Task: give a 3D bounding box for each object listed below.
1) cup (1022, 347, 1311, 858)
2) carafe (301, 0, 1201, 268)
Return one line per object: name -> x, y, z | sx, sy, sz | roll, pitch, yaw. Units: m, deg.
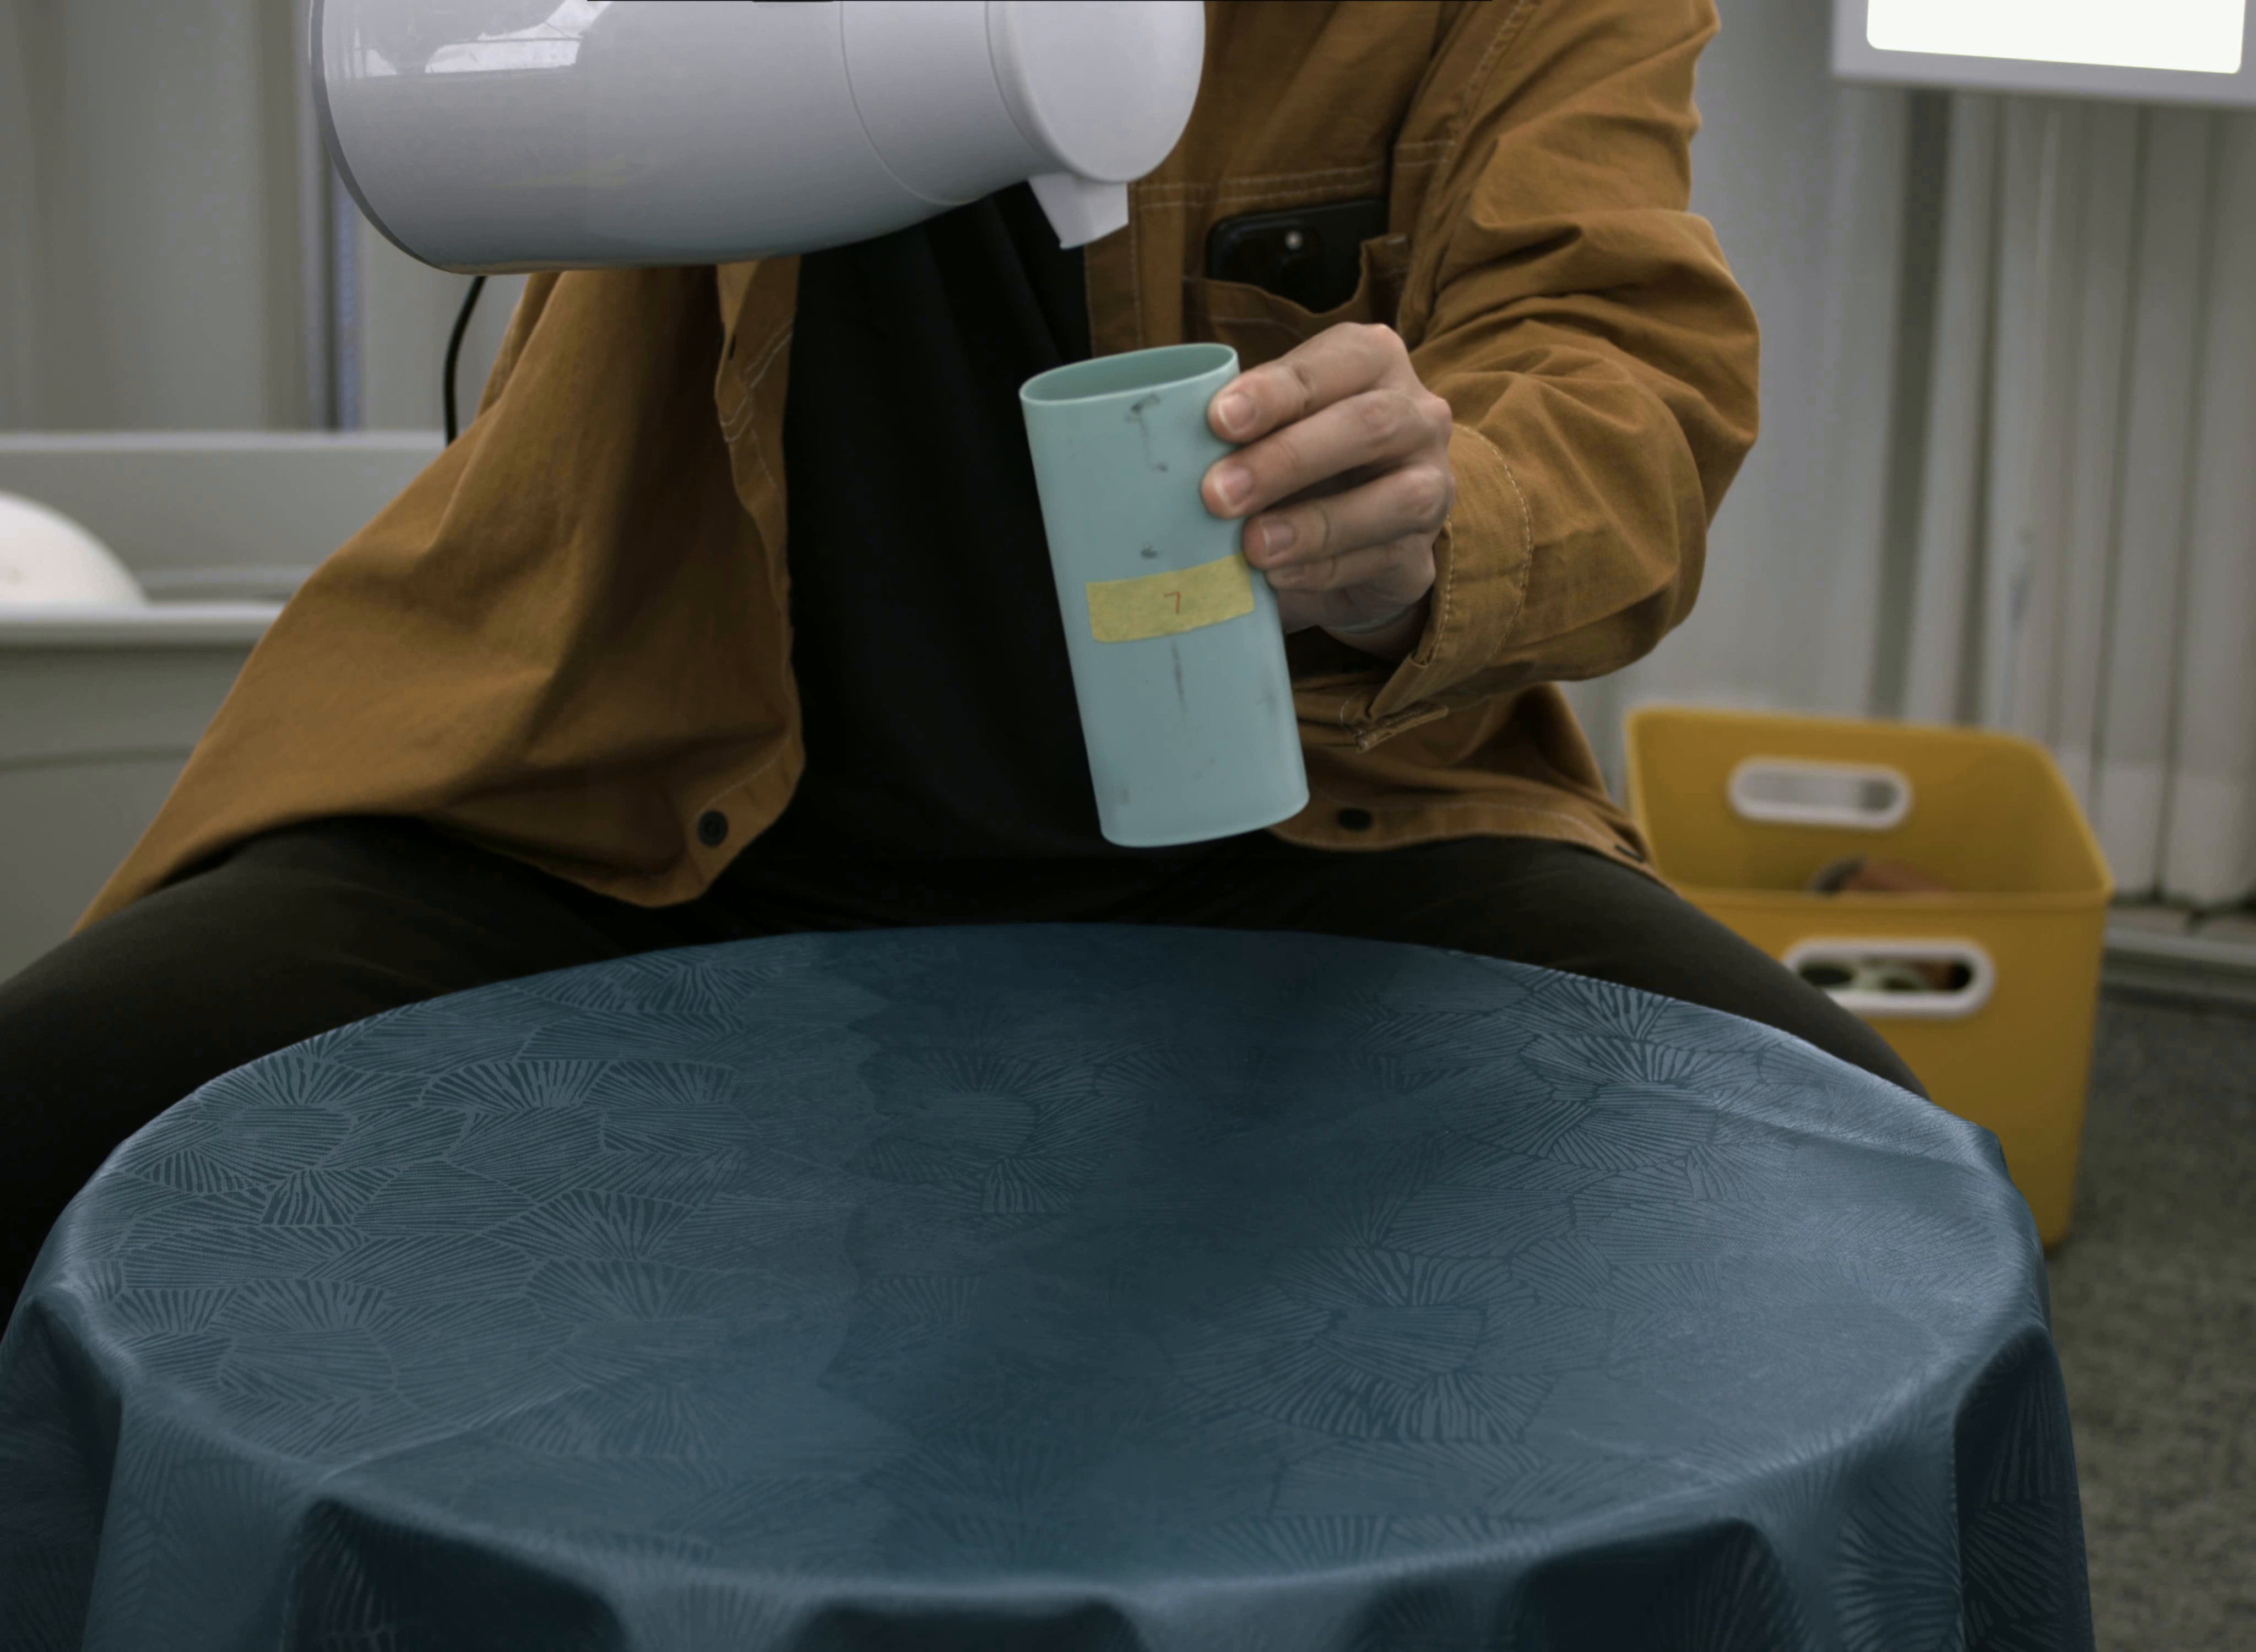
cup -> 0.012, -0.064, 1.484 | 0.066, 0.133, 0.066 | -9, 16, 3
carafe -> -0.105, -0.244, 1.488 | 0.245, 0.169, 0.132 | 3, 25, 35
